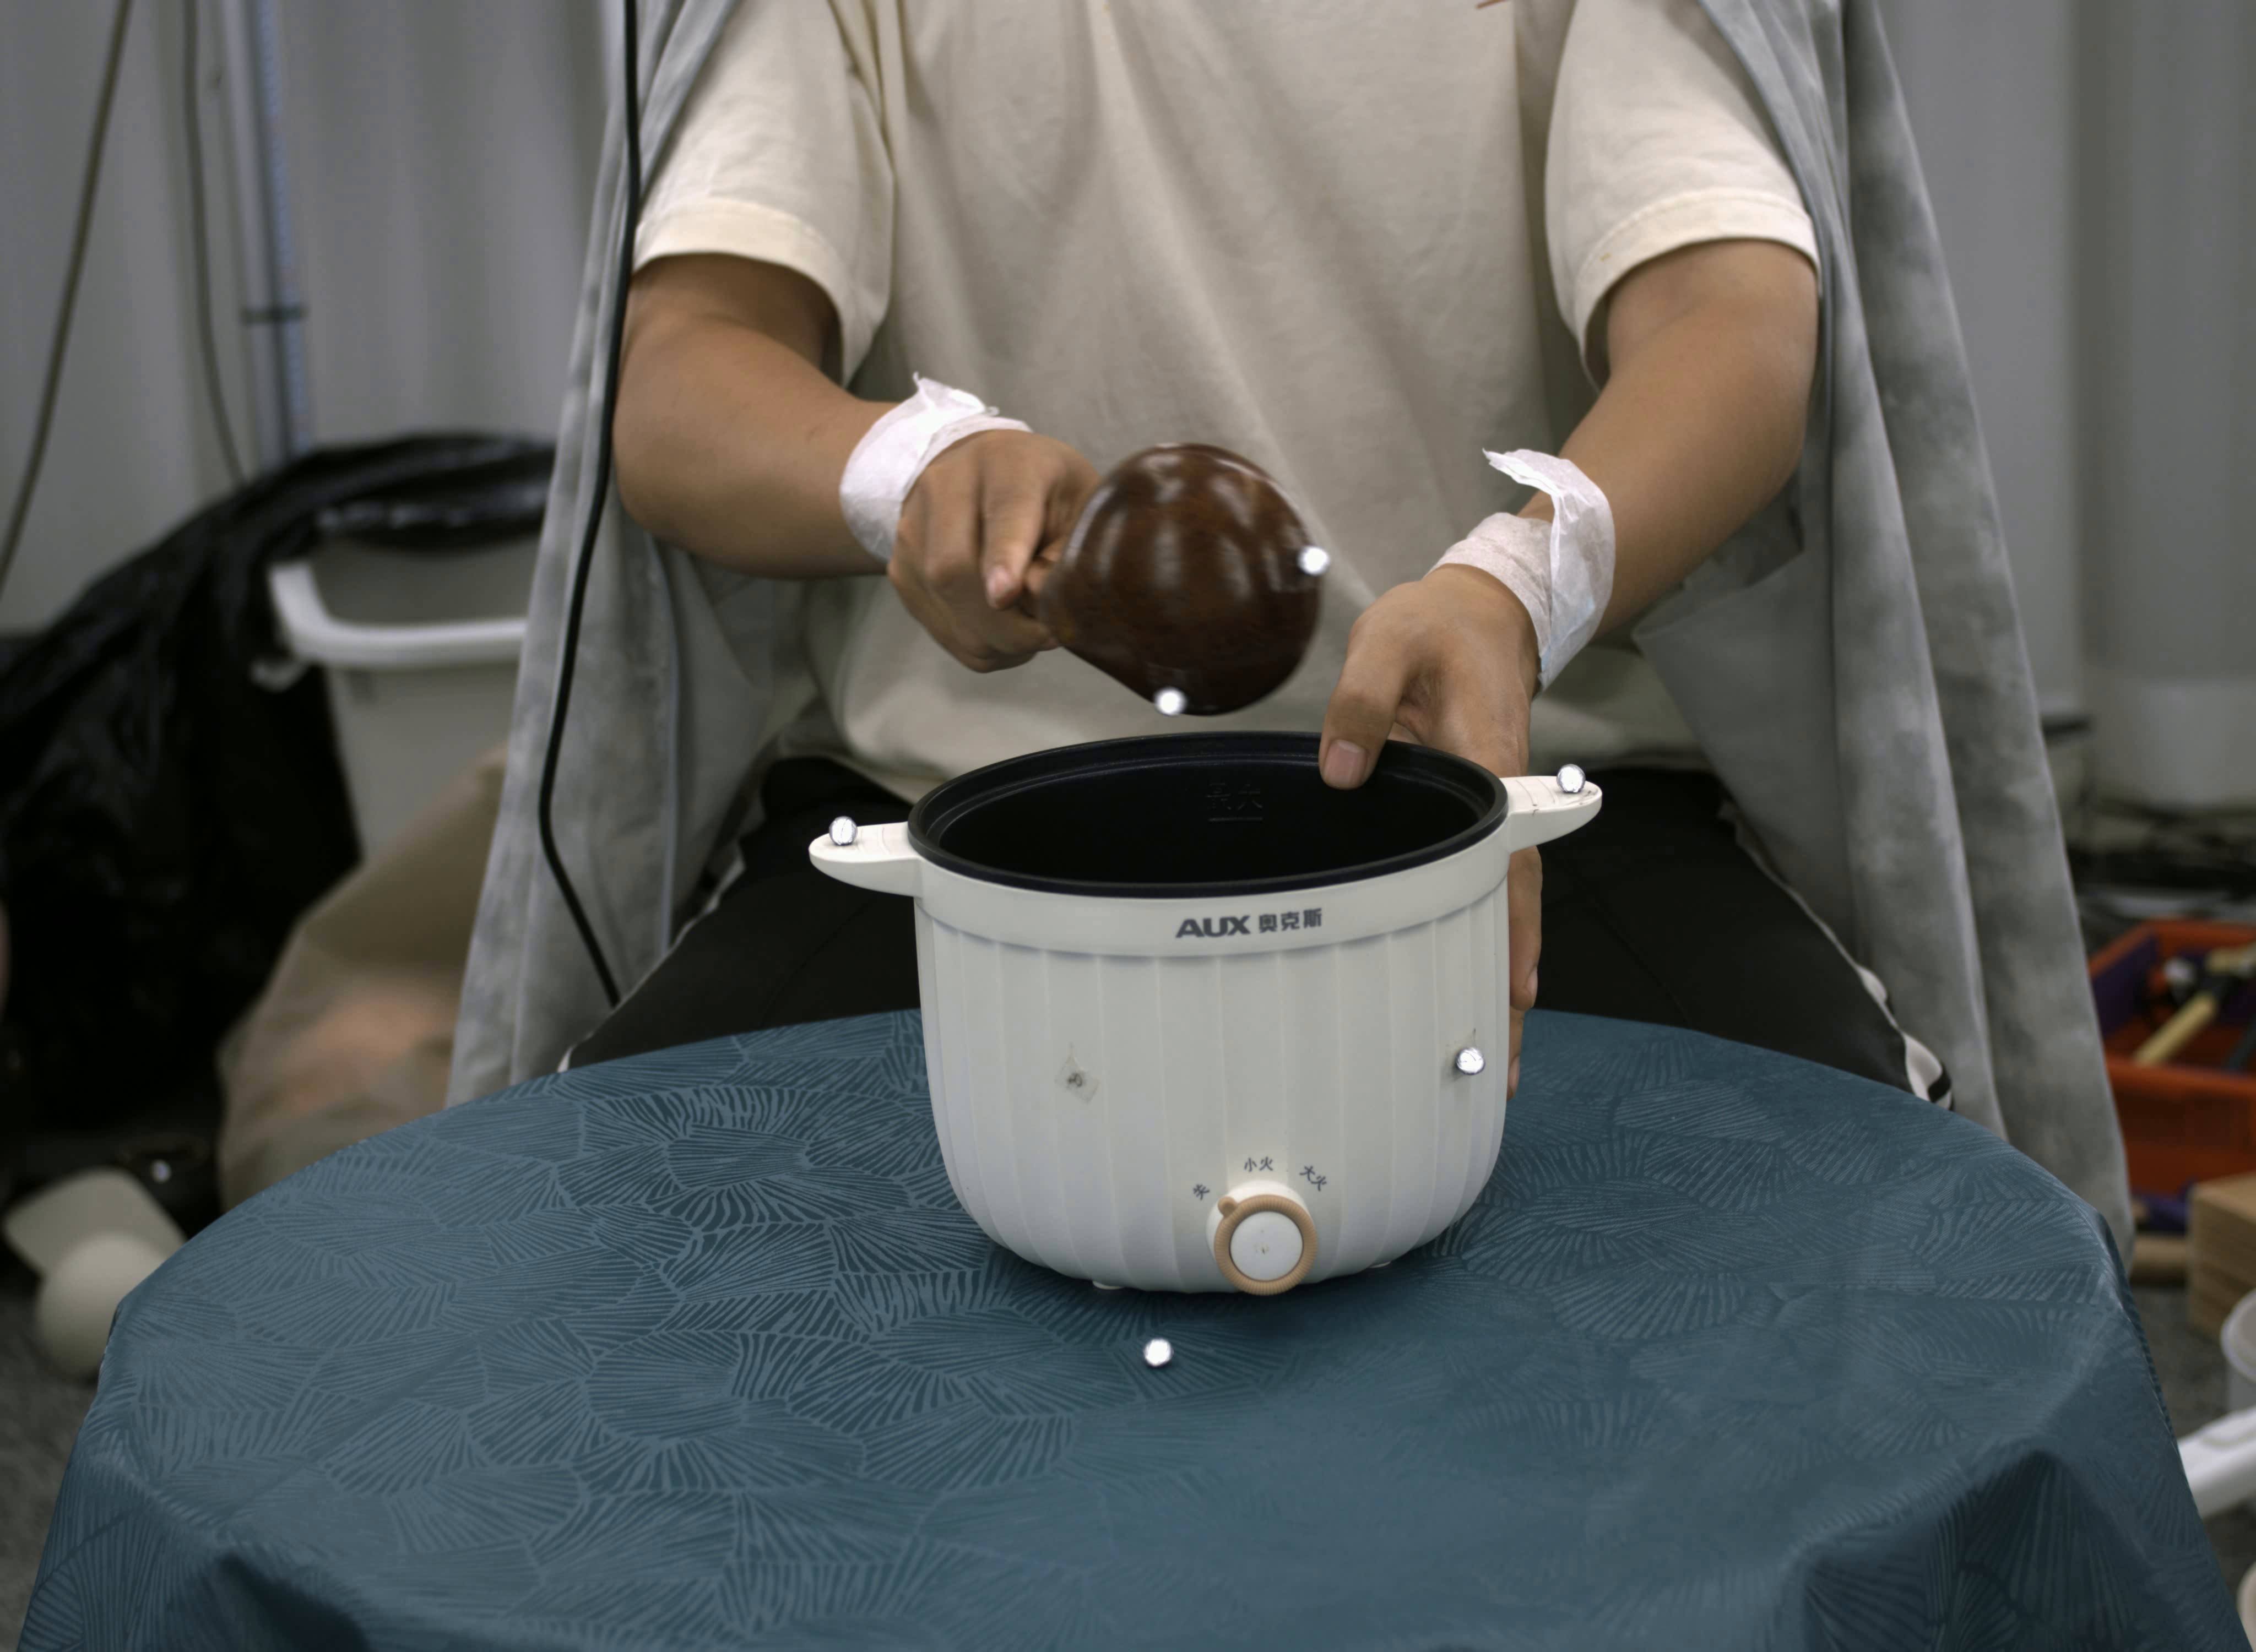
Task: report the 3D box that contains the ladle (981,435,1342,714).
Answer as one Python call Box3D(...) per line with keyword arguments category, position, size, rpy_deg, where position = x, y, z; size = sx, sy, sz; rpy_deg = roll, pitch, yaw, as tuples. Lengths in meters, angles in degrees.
Box3D(category="ladle", position=(0.007, -0.078, 1.700), size=(0.076, 0.082, 0.274), rpy_deg=(-10, 4, -8))

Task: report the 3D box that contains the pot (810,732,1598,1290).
Box3D(category="pot", position=(0.029, 0.059, 1.656), size=(0.239, 0.142, 0.191), rpy_deg=(-6, 11, -6))
